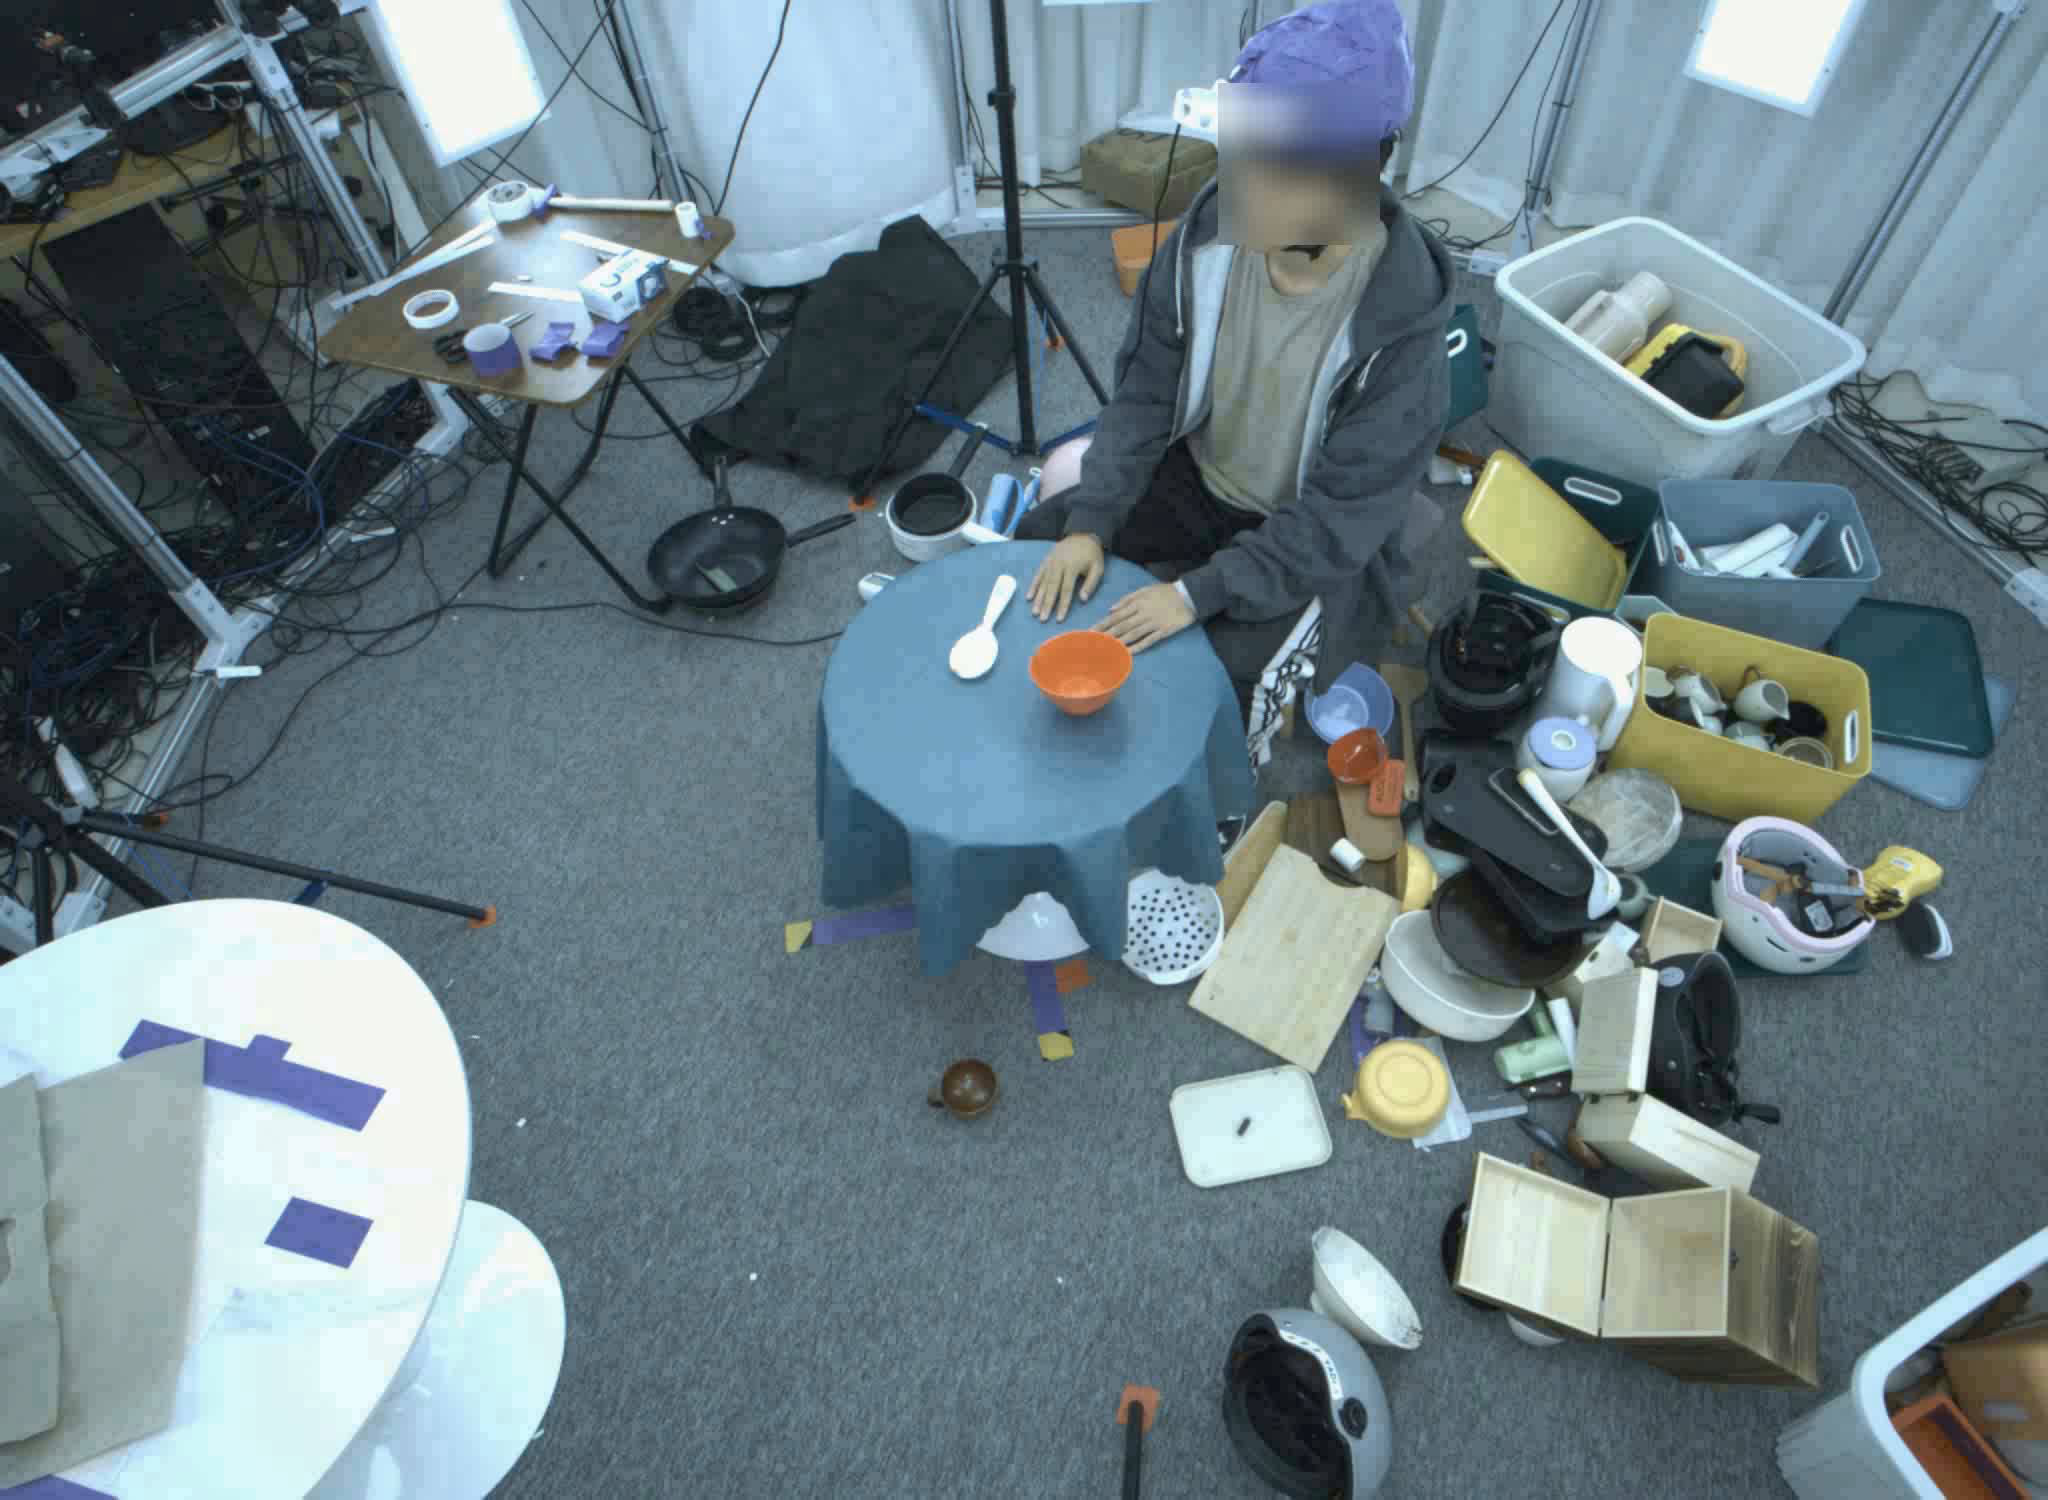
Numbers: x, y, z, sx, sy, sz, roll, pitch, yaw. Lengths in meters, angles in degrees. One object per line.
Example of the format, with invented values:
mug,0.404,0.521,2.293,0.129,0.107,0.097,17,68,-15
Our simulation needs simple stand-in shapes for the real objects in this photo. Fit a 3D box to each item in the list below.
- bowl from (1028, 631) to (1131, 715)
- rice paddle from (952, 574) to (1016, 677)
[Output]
bowl,0.082,-0.099,1.796,0.148,0.106,0.146,-1,53,3
rice paddle,-0.057,-0.193,1.910,0.068,0.030,0.204,12,56,12
